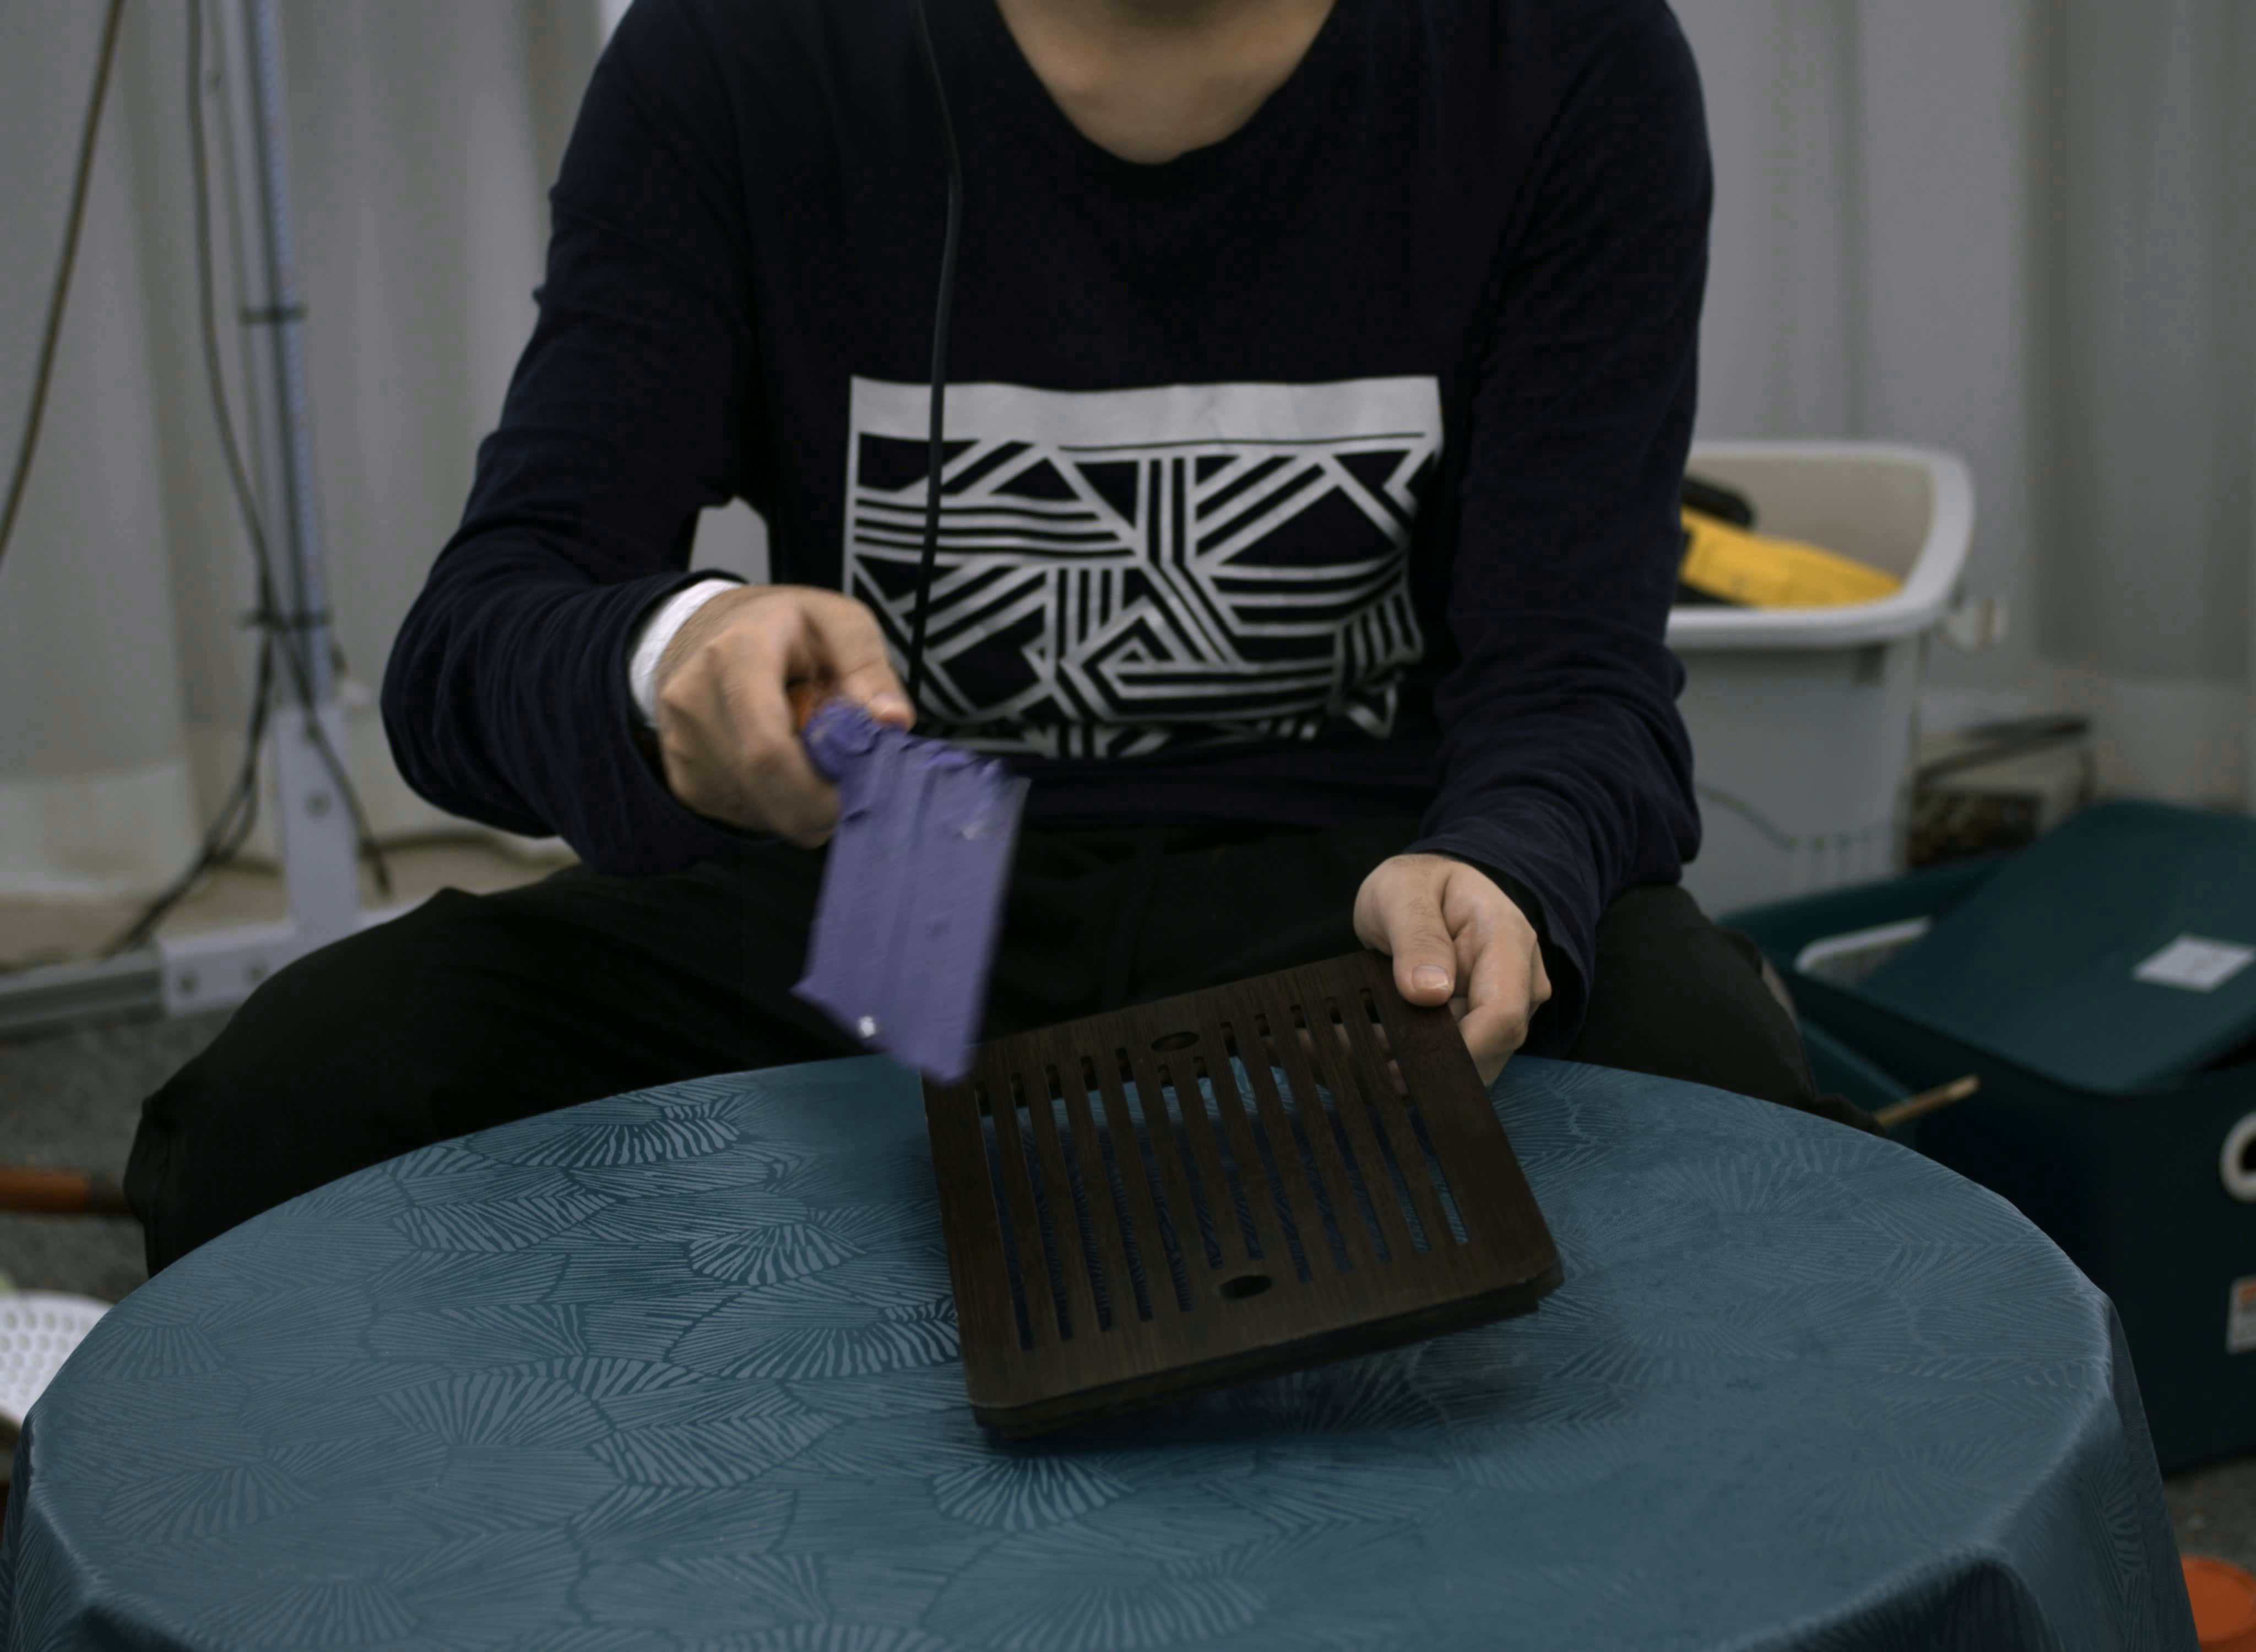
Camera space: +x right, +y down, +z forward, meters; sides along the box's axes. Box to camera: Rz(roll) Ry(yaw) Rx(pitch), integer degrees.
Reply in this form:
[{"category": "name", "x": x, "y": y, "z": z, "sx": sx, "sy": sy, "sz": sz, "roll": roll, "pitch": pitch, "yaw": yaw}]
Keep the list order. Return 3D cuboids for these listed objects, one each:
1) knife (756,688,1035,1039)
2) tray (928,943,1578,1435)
[{"category": "knife", "x": -0.077, "y": 0.009, "z": 1.665, "sx": 0.032, "sy": 0.104, "sz": 0.316, "roll": 11, "pitch": 1, "yaw": -14}, {"category": "tray", "x": 0.030, "y": 0.105, "z": 1.643, "sx": 0.169, "sy": 0.018, "sz": 0.308, "roll": -13, "pitch": 17, "yaw": -1}]
